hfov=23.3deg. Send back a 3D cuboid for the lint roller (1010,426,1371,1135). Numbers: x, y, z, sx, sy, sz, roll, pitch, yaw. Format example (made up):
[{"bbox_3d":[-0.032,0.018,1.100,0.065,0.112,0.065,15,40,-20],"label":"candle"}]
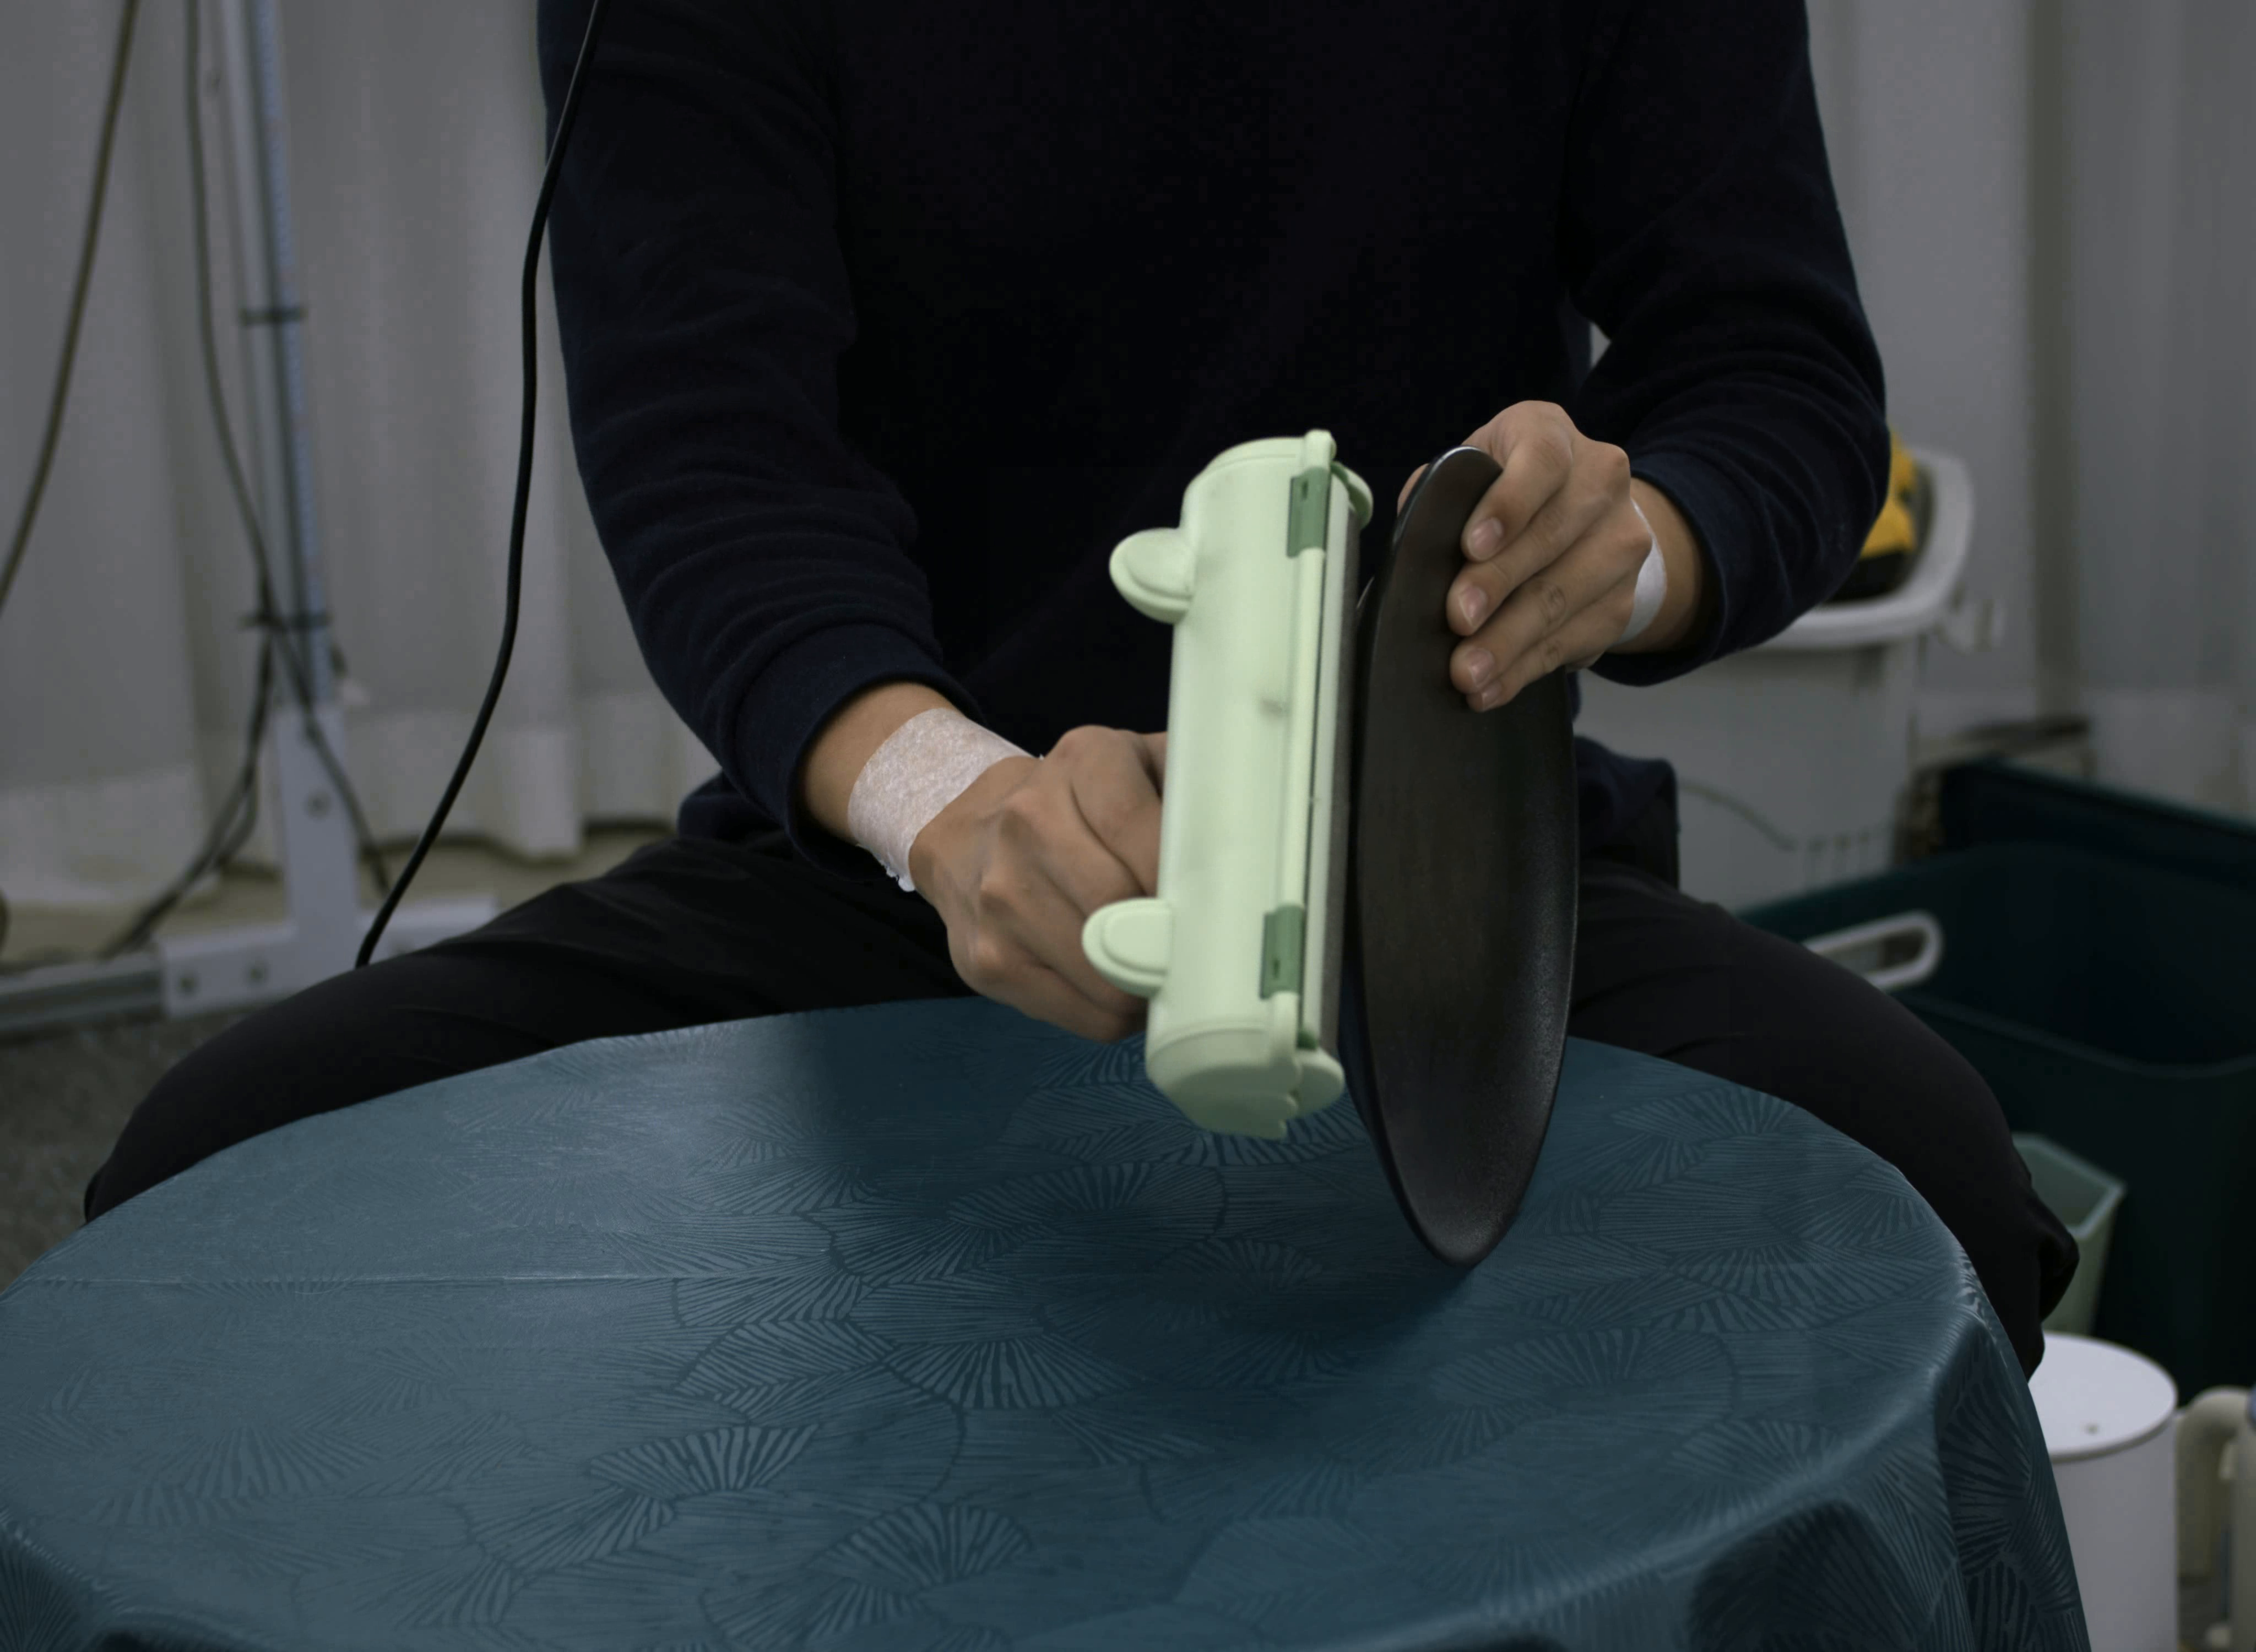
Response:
[{"bbox_3d":[-0.002,0.003,1.548,0.081,0.201,0.182,22,-33,-29],"label":"lint roller"}]

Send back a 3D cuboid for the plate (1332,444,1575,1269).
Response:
[{"bbox_3d":[0.093,0.009,1.624,0.023,0.243,0.245,0,15,19],"label":"plate"}]
